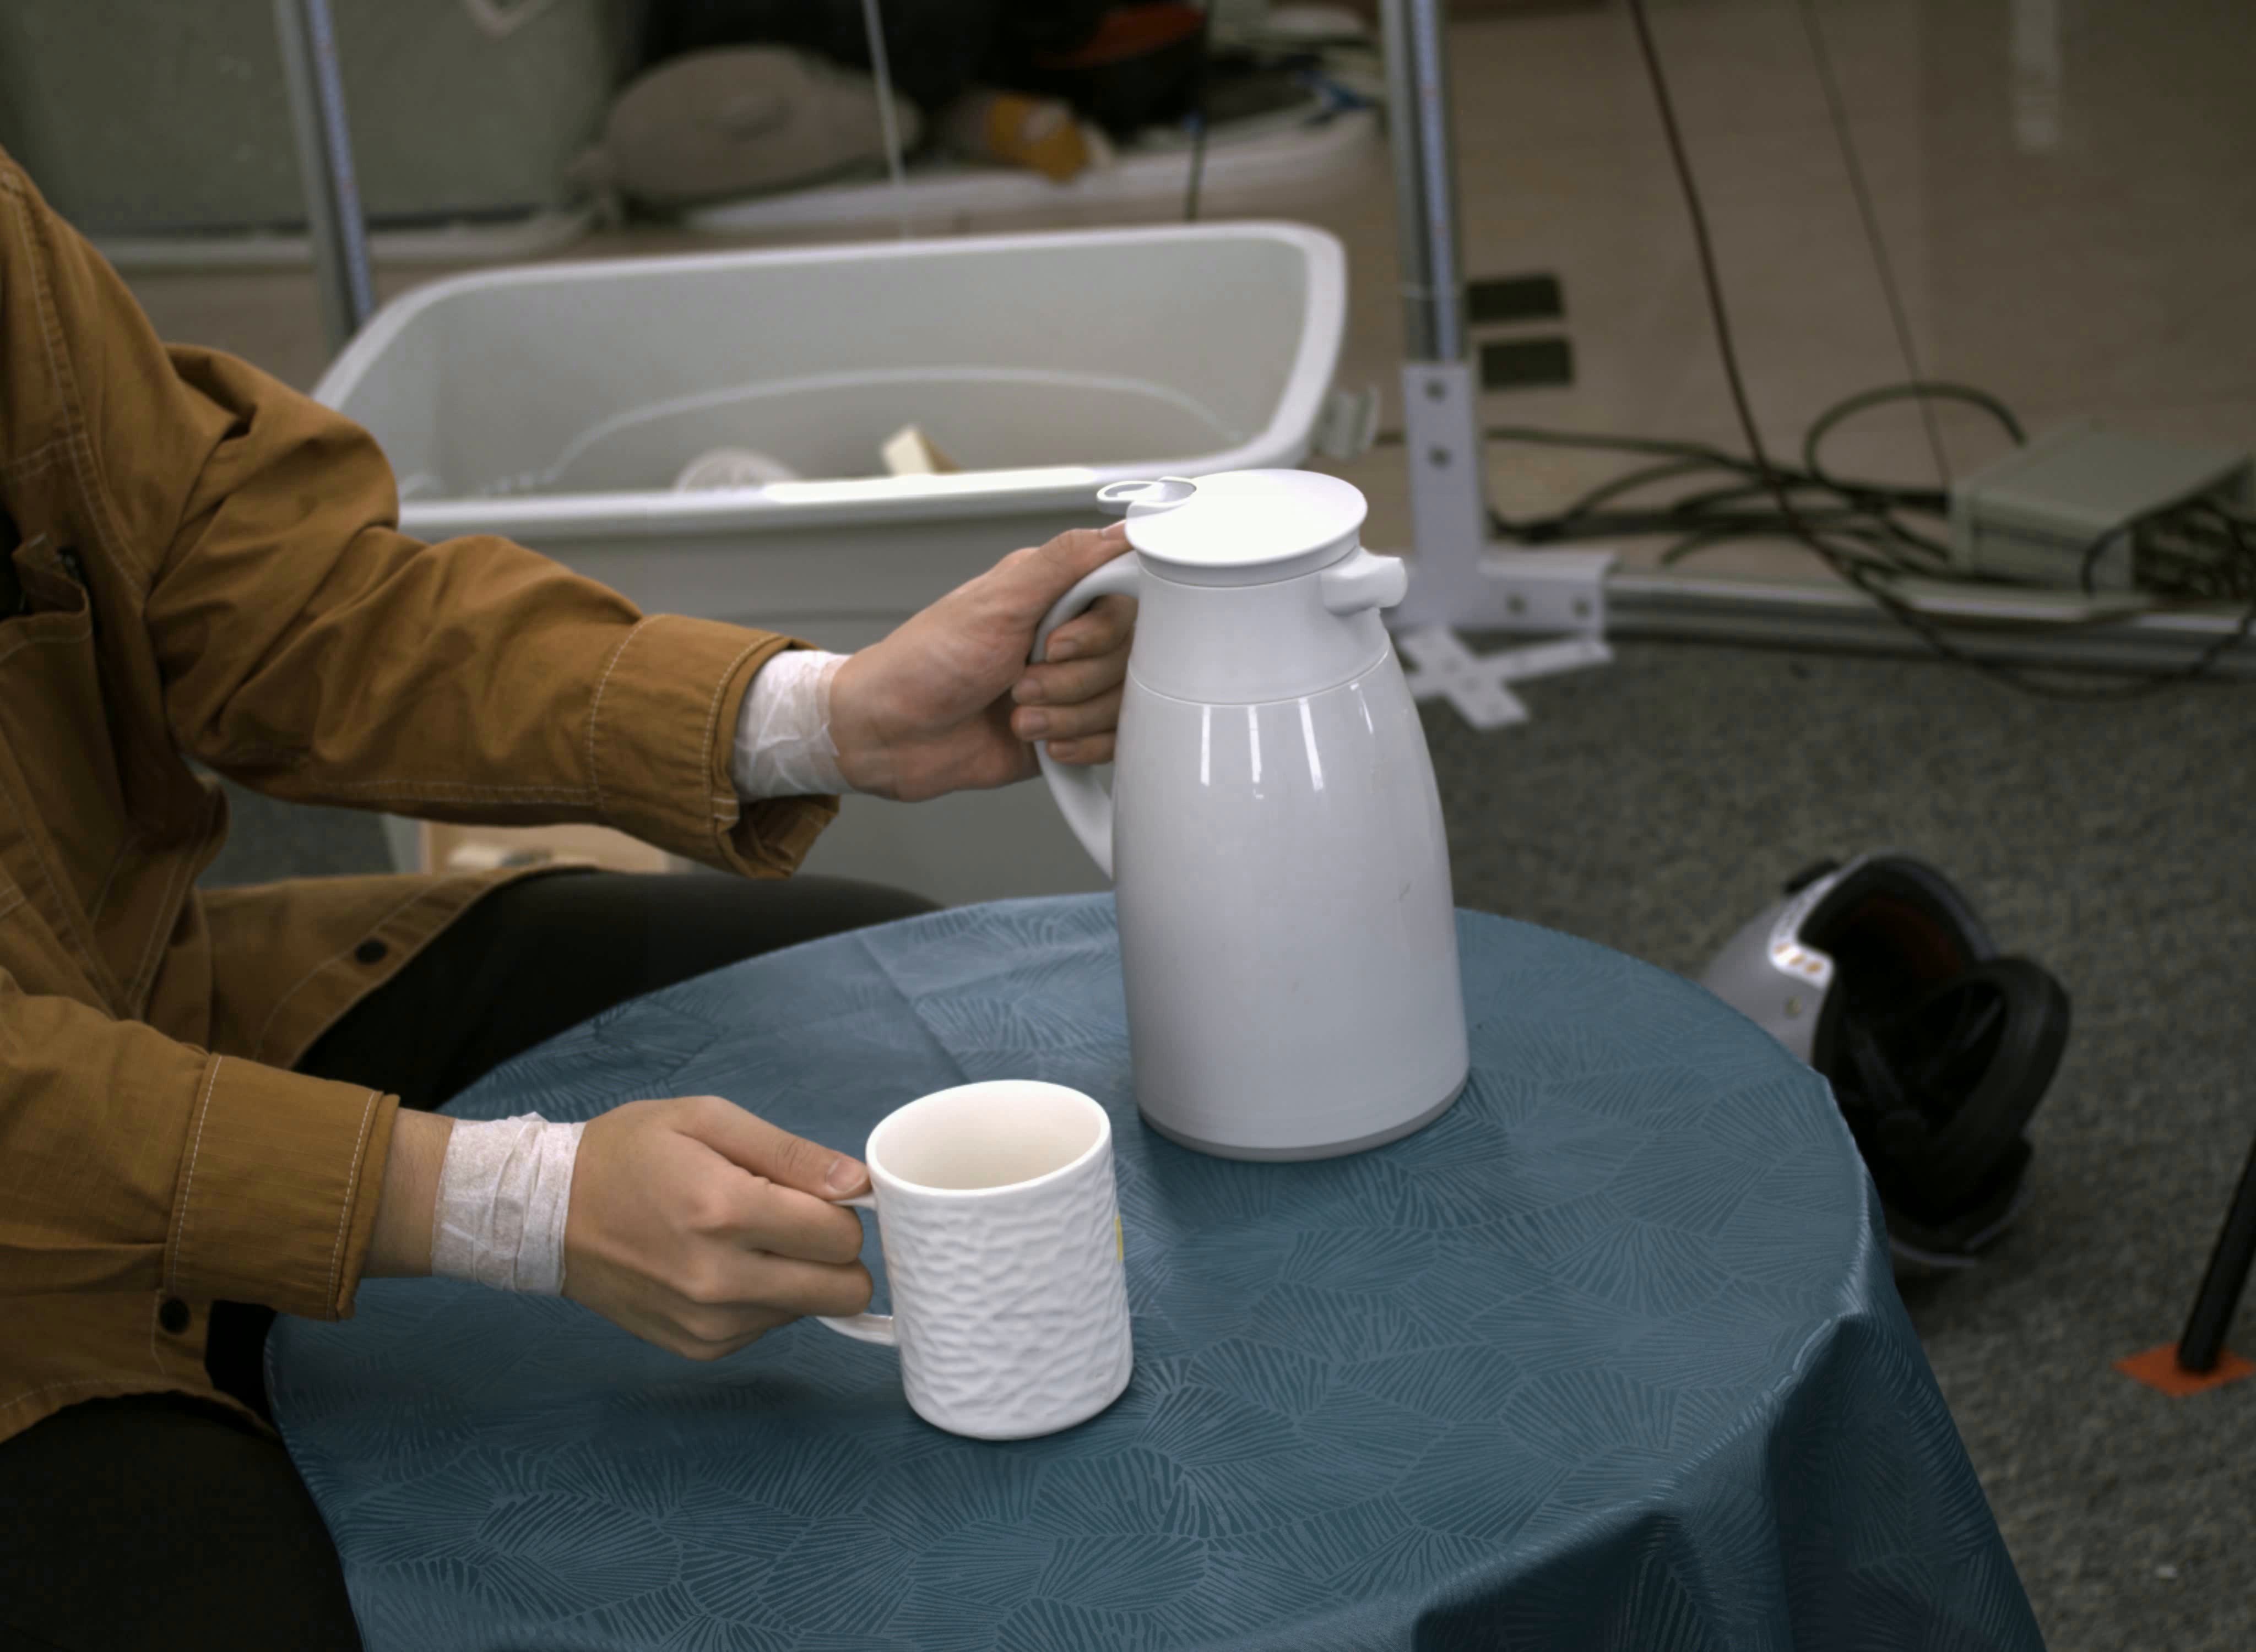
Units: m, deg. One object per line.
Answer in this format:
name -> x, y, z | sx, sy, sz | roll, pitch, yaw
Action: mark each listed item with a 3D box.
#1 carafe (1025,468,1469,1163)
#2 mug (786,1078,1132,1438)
carafe -> 0.039, -0.013, 2.168 | 0.167, 0.252, 0.131 | 9, 30, 29
mug -> -0.060, 0.154, 2.007 | 0.118, 0.103, 0.083 | -4, 26, 4
